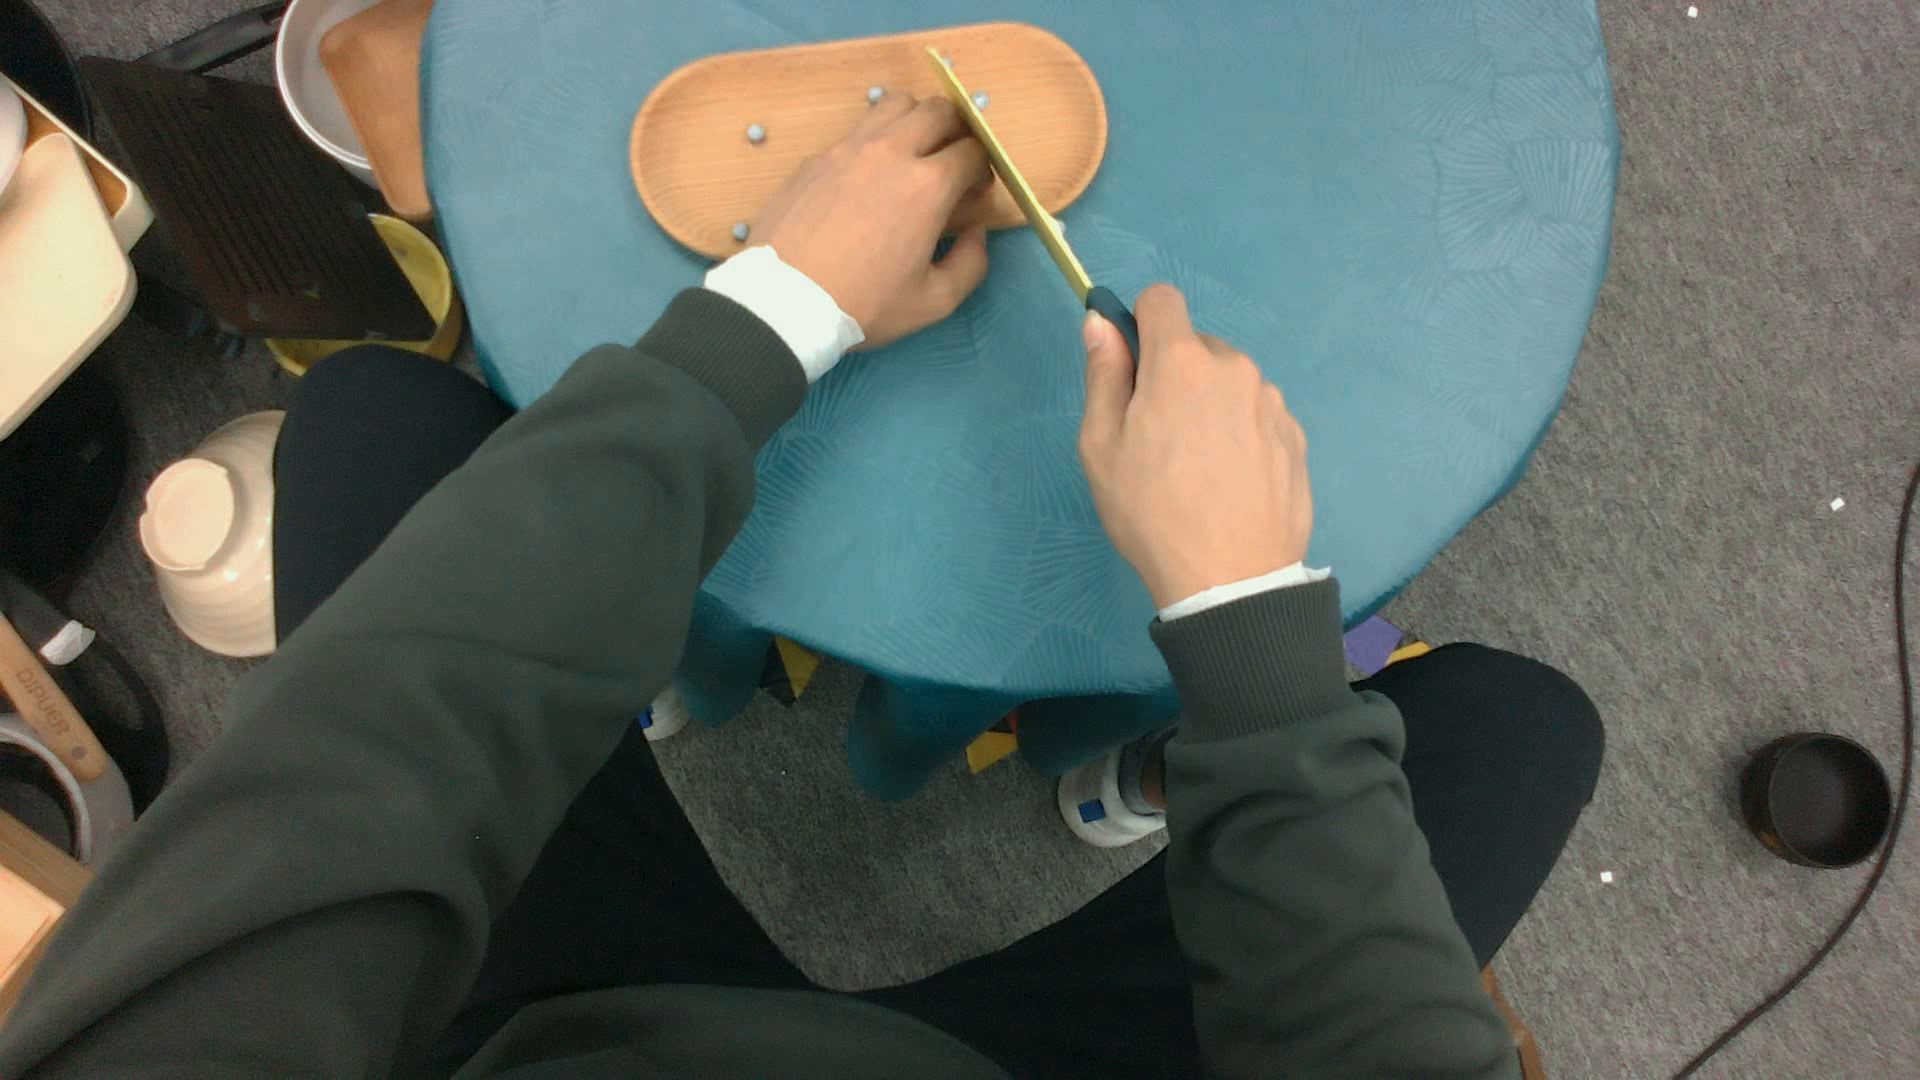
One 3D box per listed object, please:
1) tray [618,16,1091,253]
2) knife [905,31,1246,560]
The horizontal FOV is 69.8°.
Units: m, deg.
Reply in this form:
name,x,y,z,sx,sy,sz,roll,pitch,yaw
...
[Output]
name,x,y,z,sx,sy,sz,roll,pitch,yaw
tray,-0.049,-0.198,0.674,0.231,0.020,0.102,-10,86,-9
knife,0.045,-0.115,0.616,0.027,0.081,0.290,-31,77,7
